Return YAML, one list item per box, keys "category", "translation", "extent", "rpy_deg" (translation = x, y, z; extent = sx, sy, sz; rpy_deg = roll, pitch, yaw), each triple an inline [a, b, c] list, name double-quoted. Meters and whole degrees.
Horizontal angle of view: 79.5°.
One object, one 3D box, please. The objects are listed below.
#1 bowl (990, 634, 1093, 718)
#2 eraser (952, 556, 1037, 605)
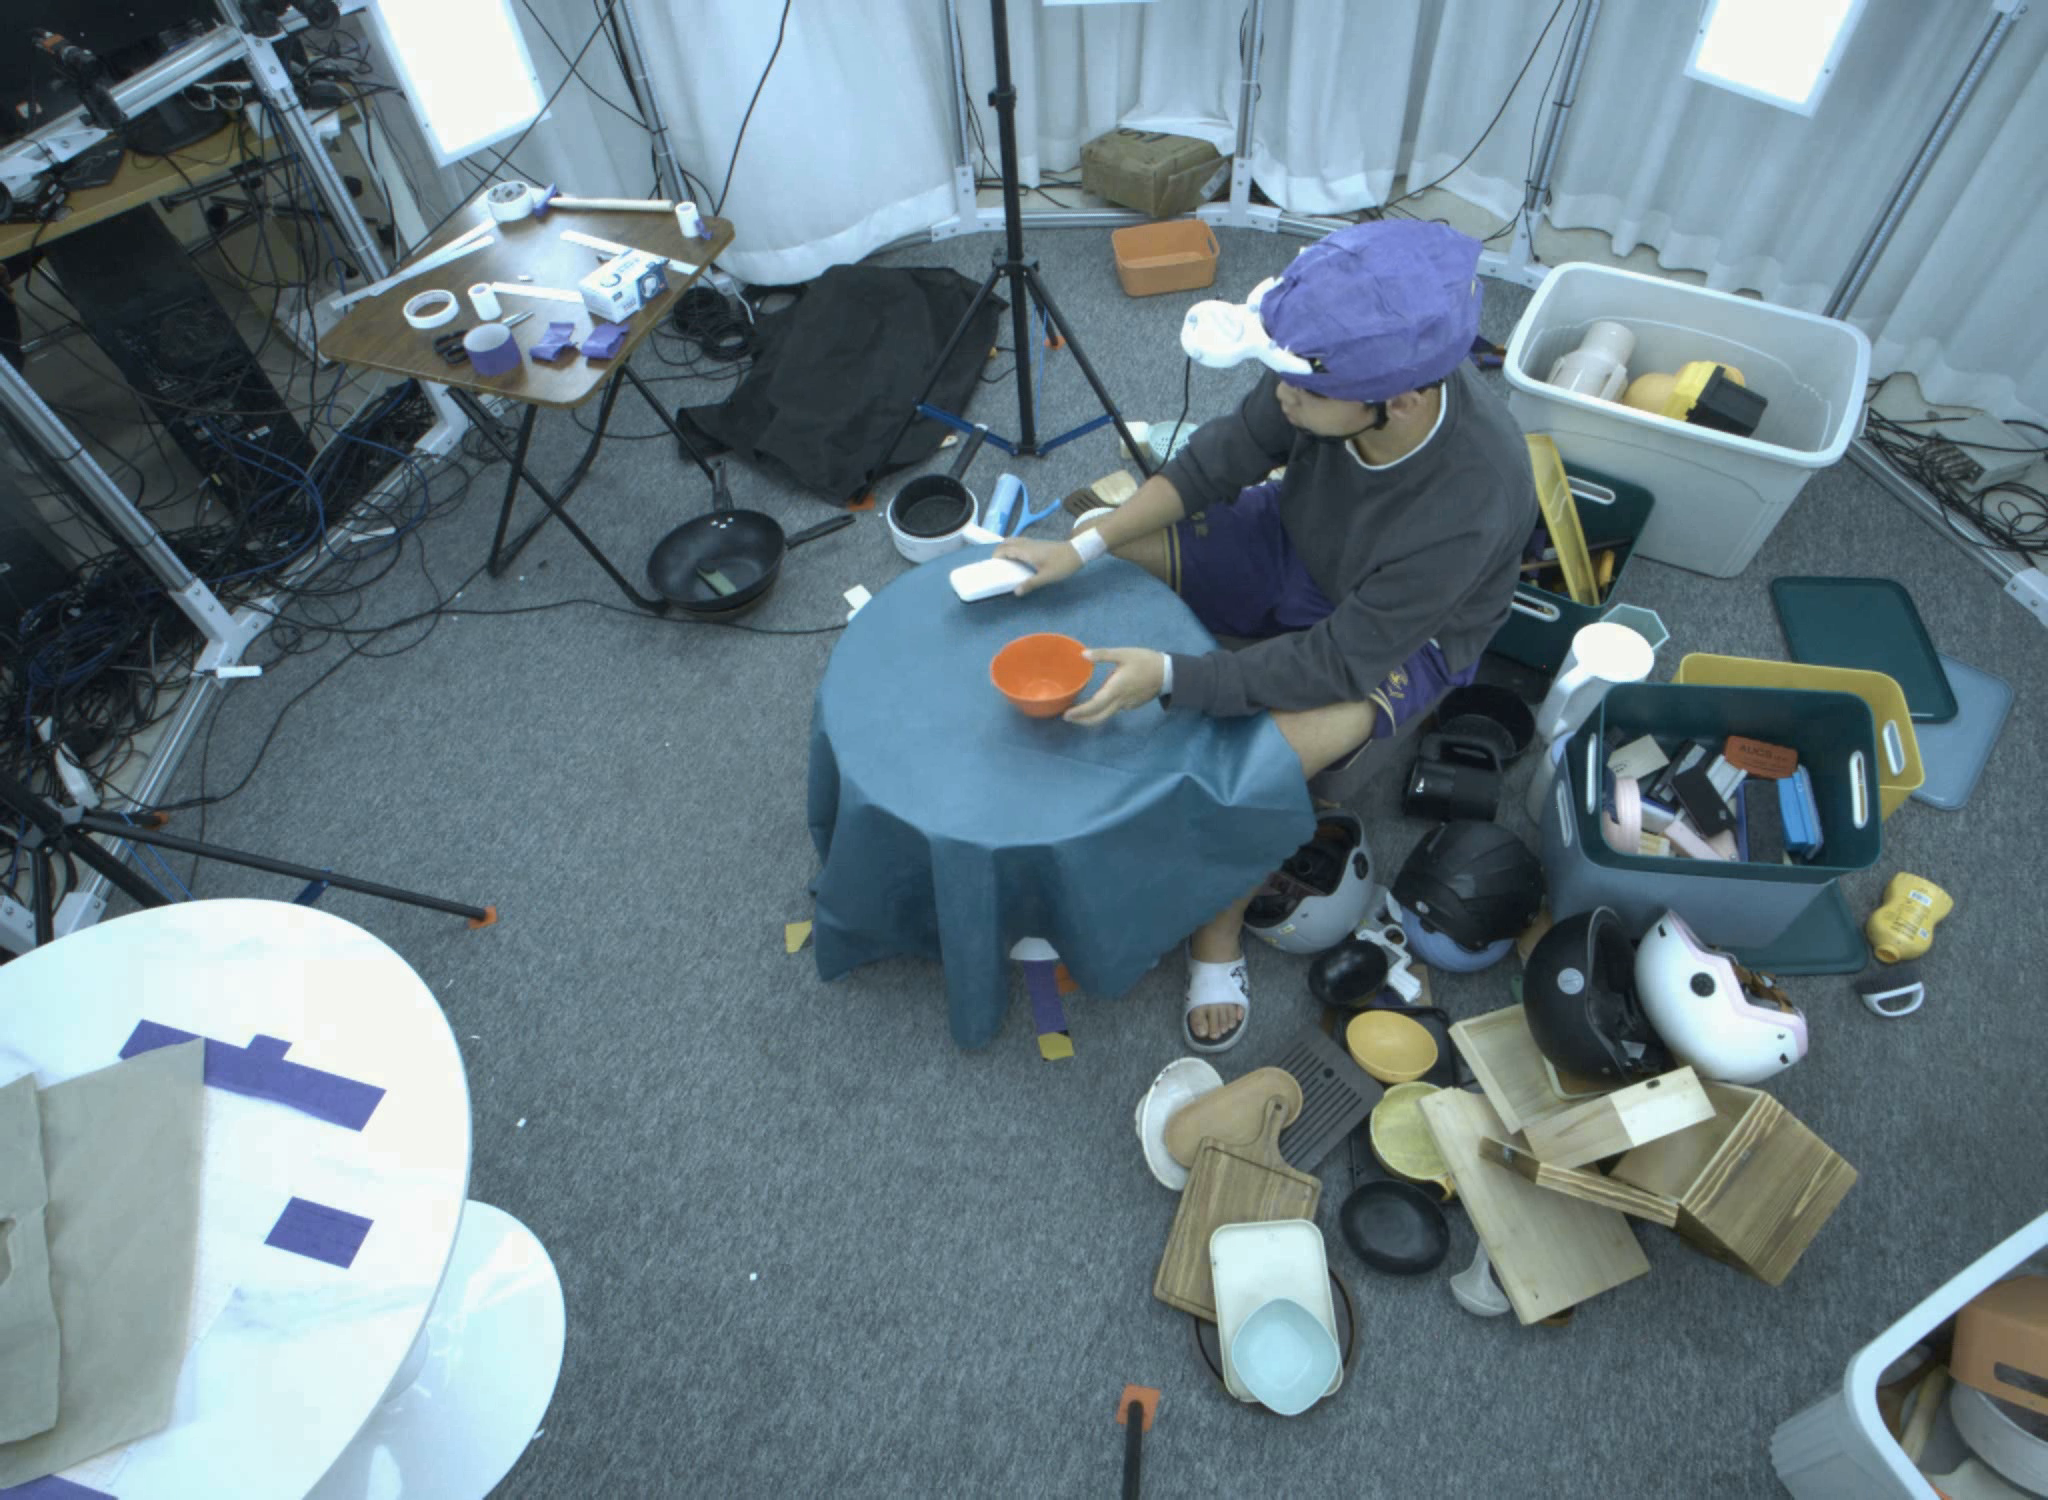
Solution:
- category: "bowl"
  translation: [0.027, -0.094, 1.795]
  extent: [0.148, 0.106, 0.146]
  rpy_deg: [-1, 54, 3]
- category: "eraser"
  translation: [-0.047, -0.267, 1.927]
  extent: [0.133, 0.035, 0.062]
  rpy_deg: [-17, 54, -22]
